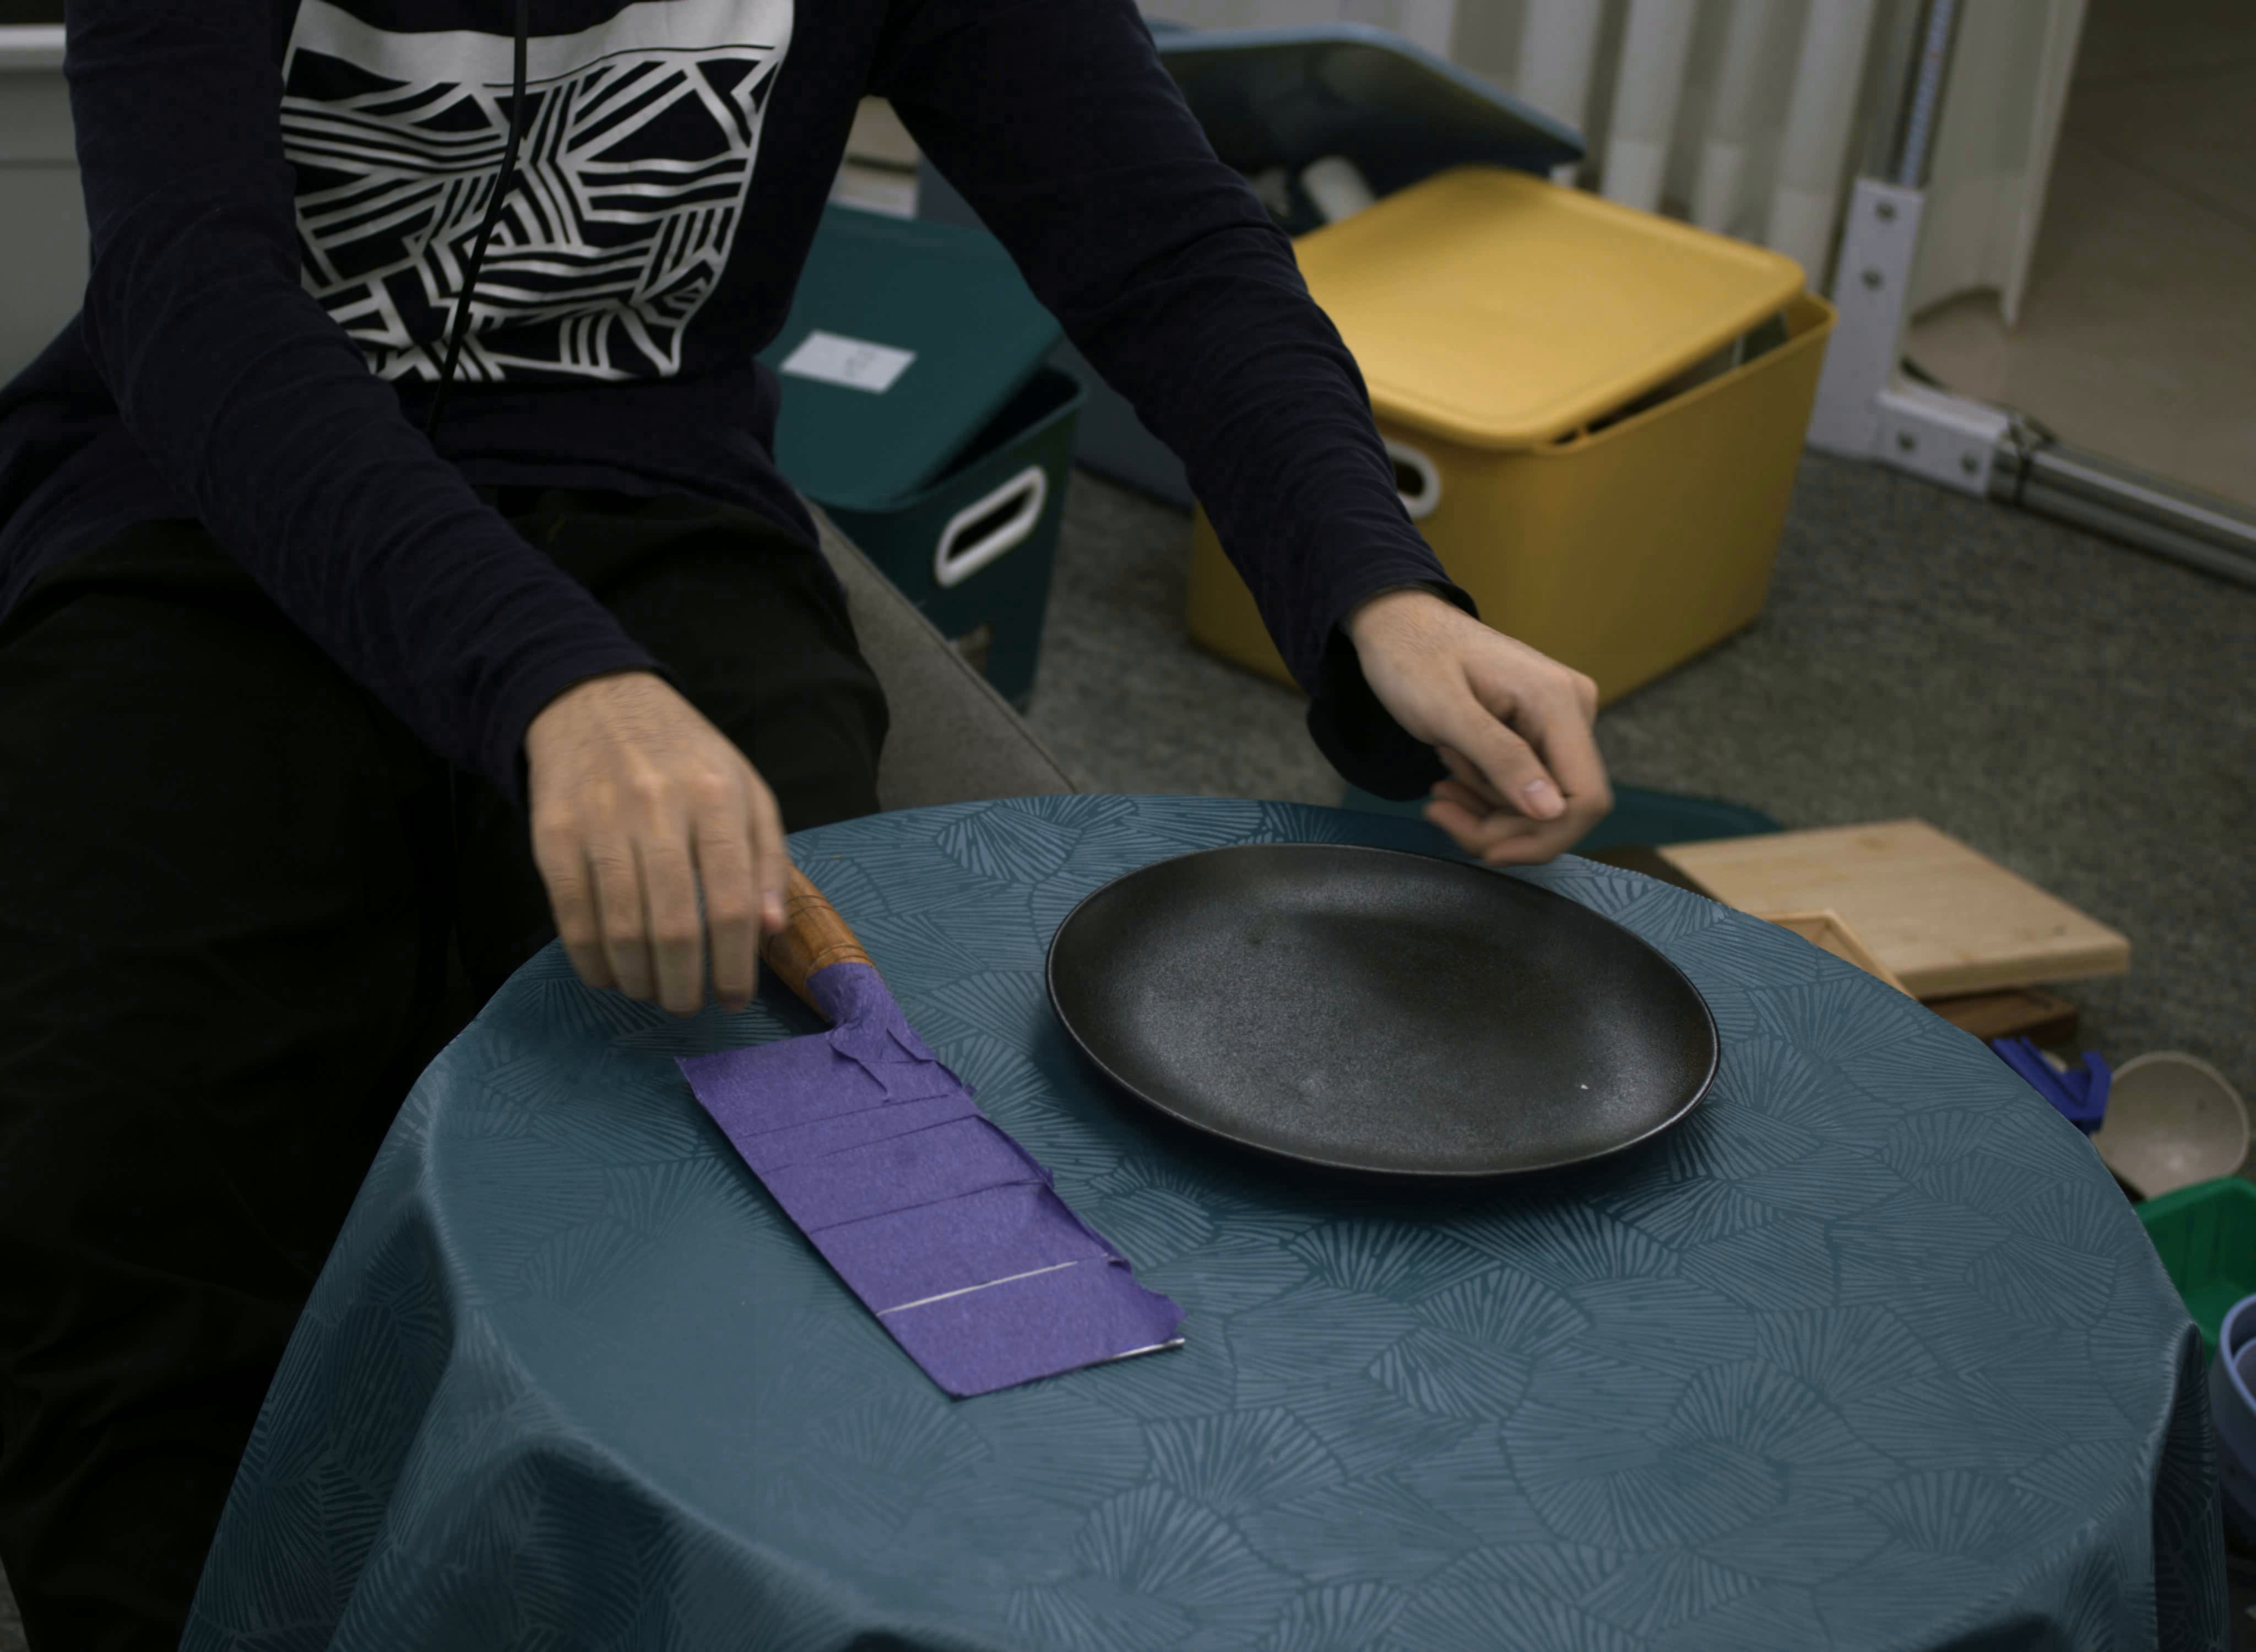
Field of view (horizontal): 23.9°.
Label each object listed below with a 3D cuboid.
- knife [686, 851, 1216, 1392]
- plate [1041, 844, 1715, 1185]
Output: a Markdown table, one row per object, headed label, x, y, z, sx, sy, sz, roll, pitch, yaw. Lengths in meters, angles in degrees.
| label | x | y | z | sx | sy | sz | roll | pitch | yaw |
| --- | --- | --- | --- | --- | --- | --- | --- | --- | --- |
| knife | -0.091 | 0.096 | 1.811 | 0.103 | 0.032 | 0.318 | -10 | 31 | -29 |
| plate | 0.088 | 0.071 | 1.905 | 0.243 | 0.023 | 0.246 | 5 | 27 | -3 |
